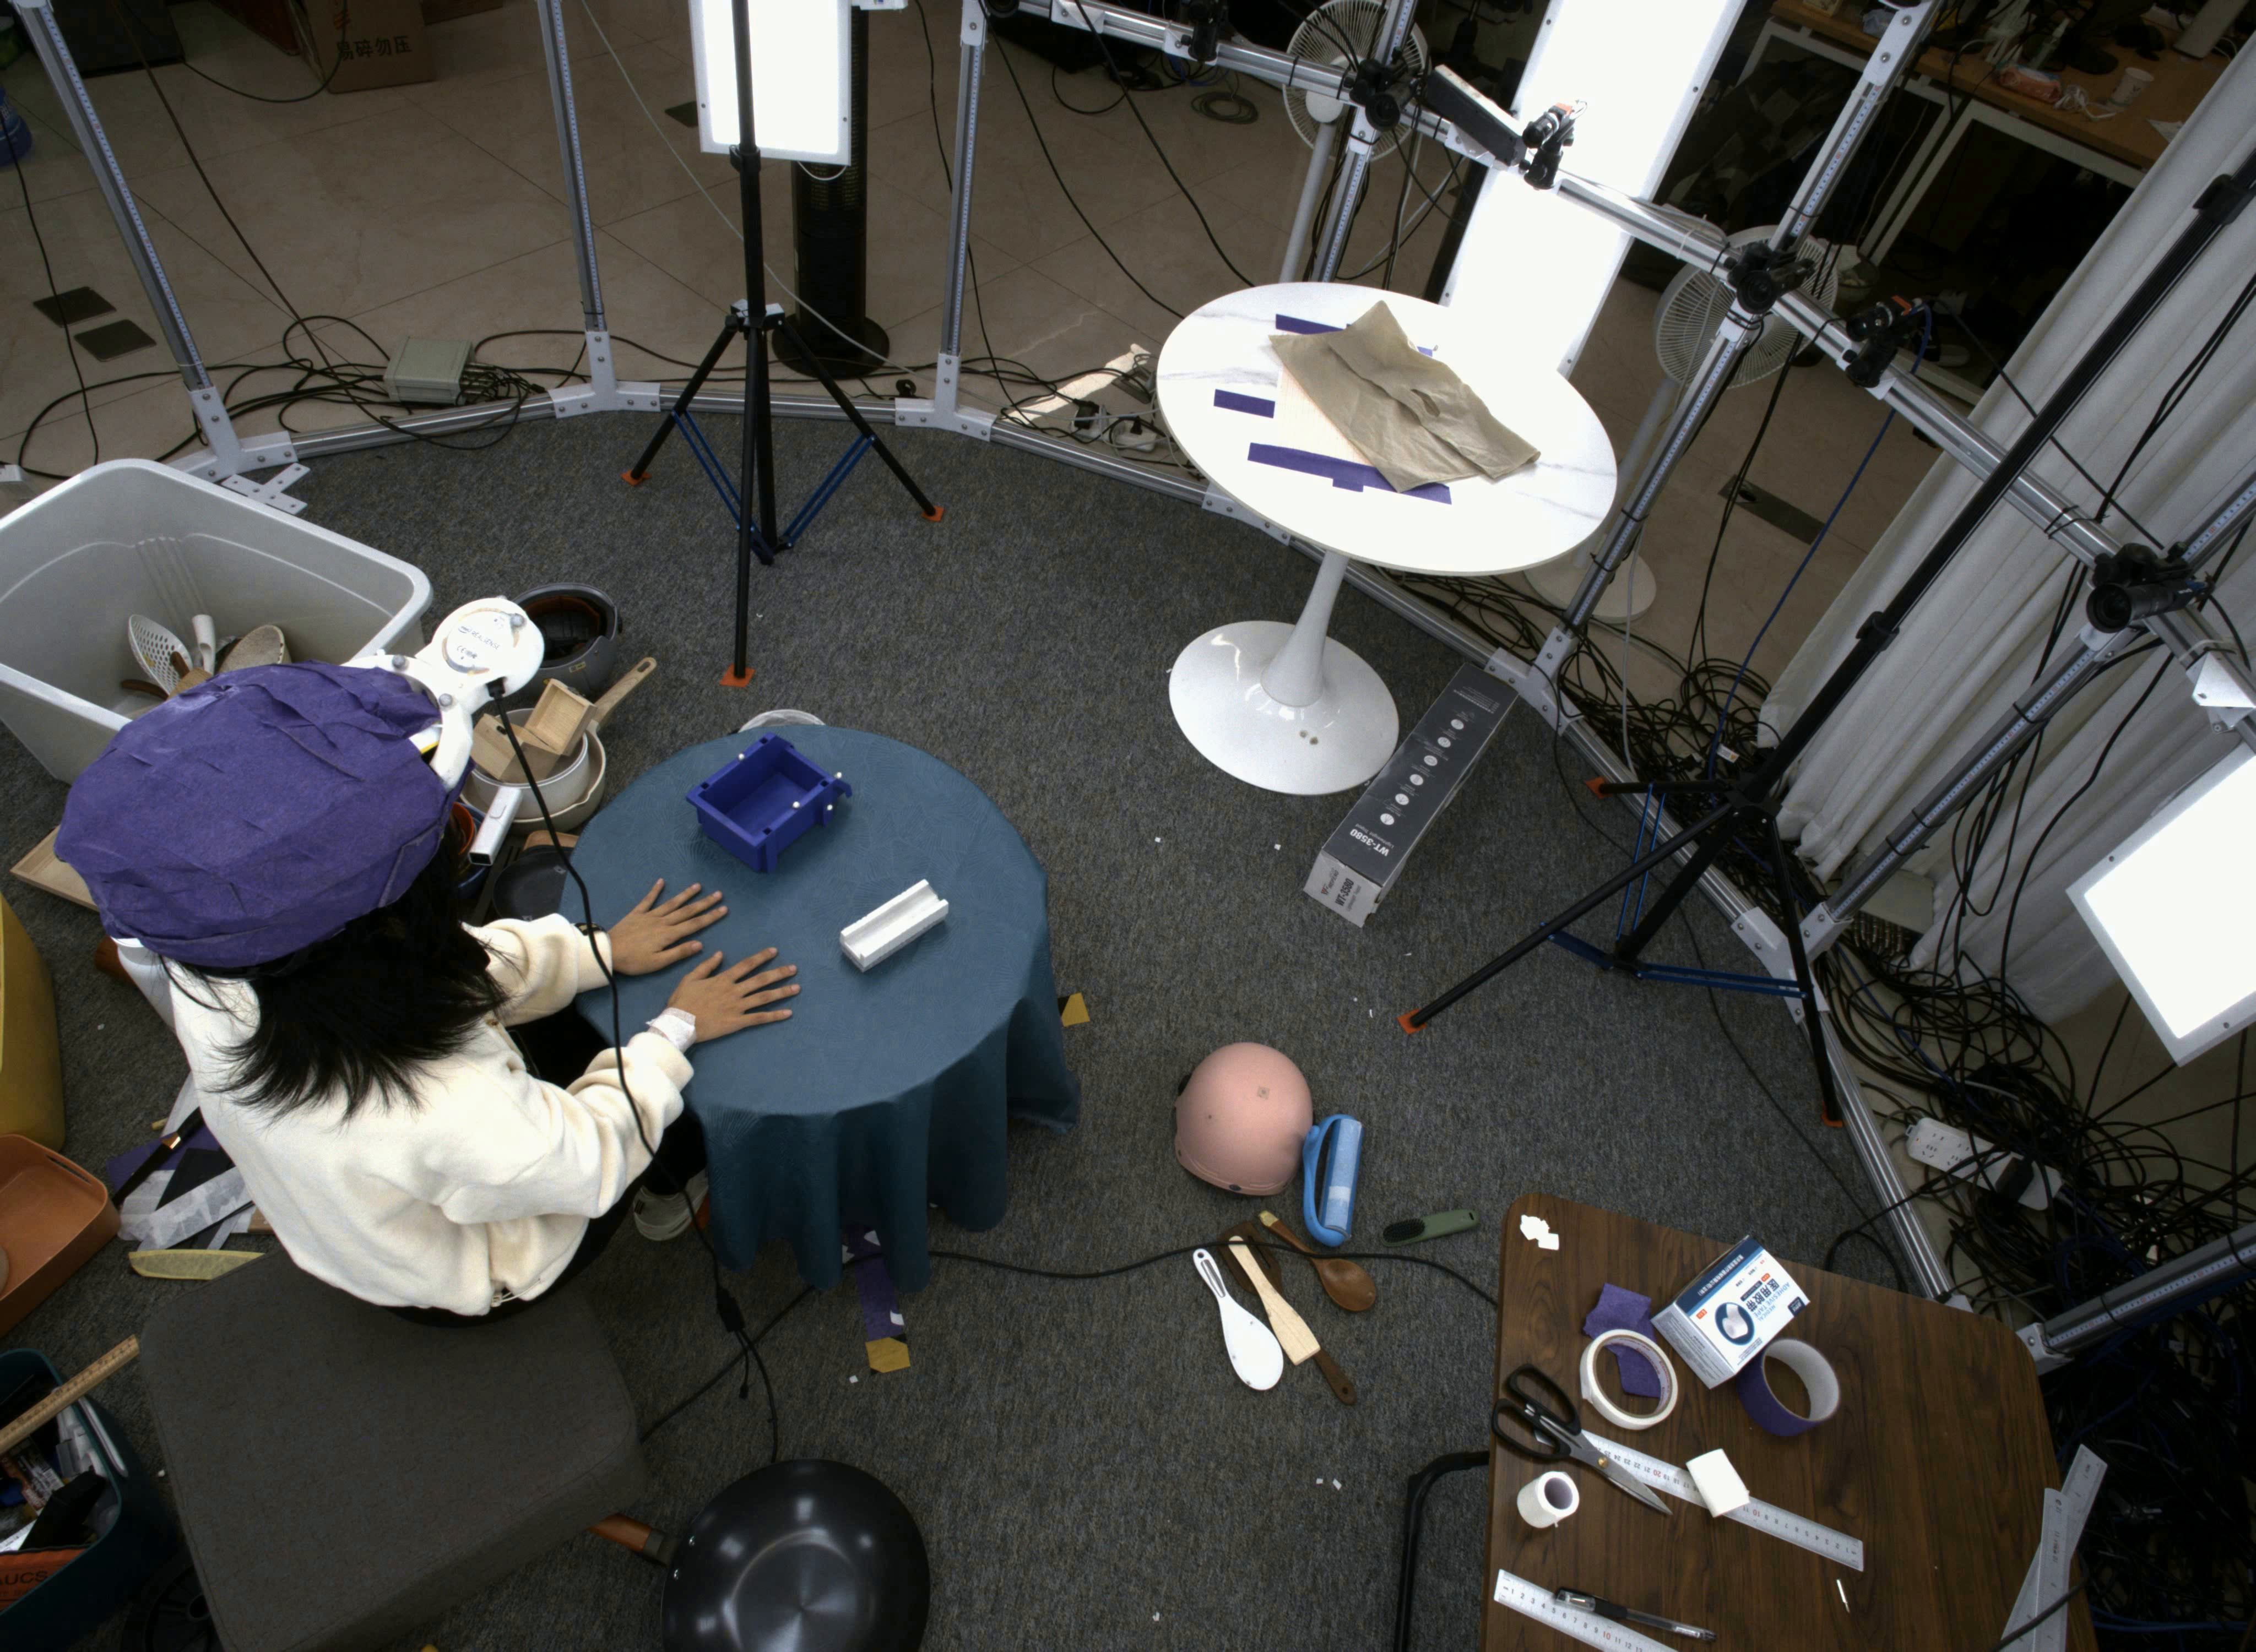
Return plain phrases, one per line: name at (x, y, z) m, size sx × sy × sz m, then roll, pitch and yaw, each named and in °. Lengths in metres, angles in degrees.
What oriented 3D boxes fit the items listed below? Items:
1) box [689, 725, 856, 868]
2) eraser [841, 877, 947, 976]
box at (-0.462, -0.044, 1.689) m, size 0.122 × 0.083 × 0.179 m, roll 35°, pitch 55°, yaw 13°
eraser at (-0.292, 0.124, 1.630) m, size 0.049 × 0.047 × 0.134 m, roll 41°, pitch 53°, yaw 16°
